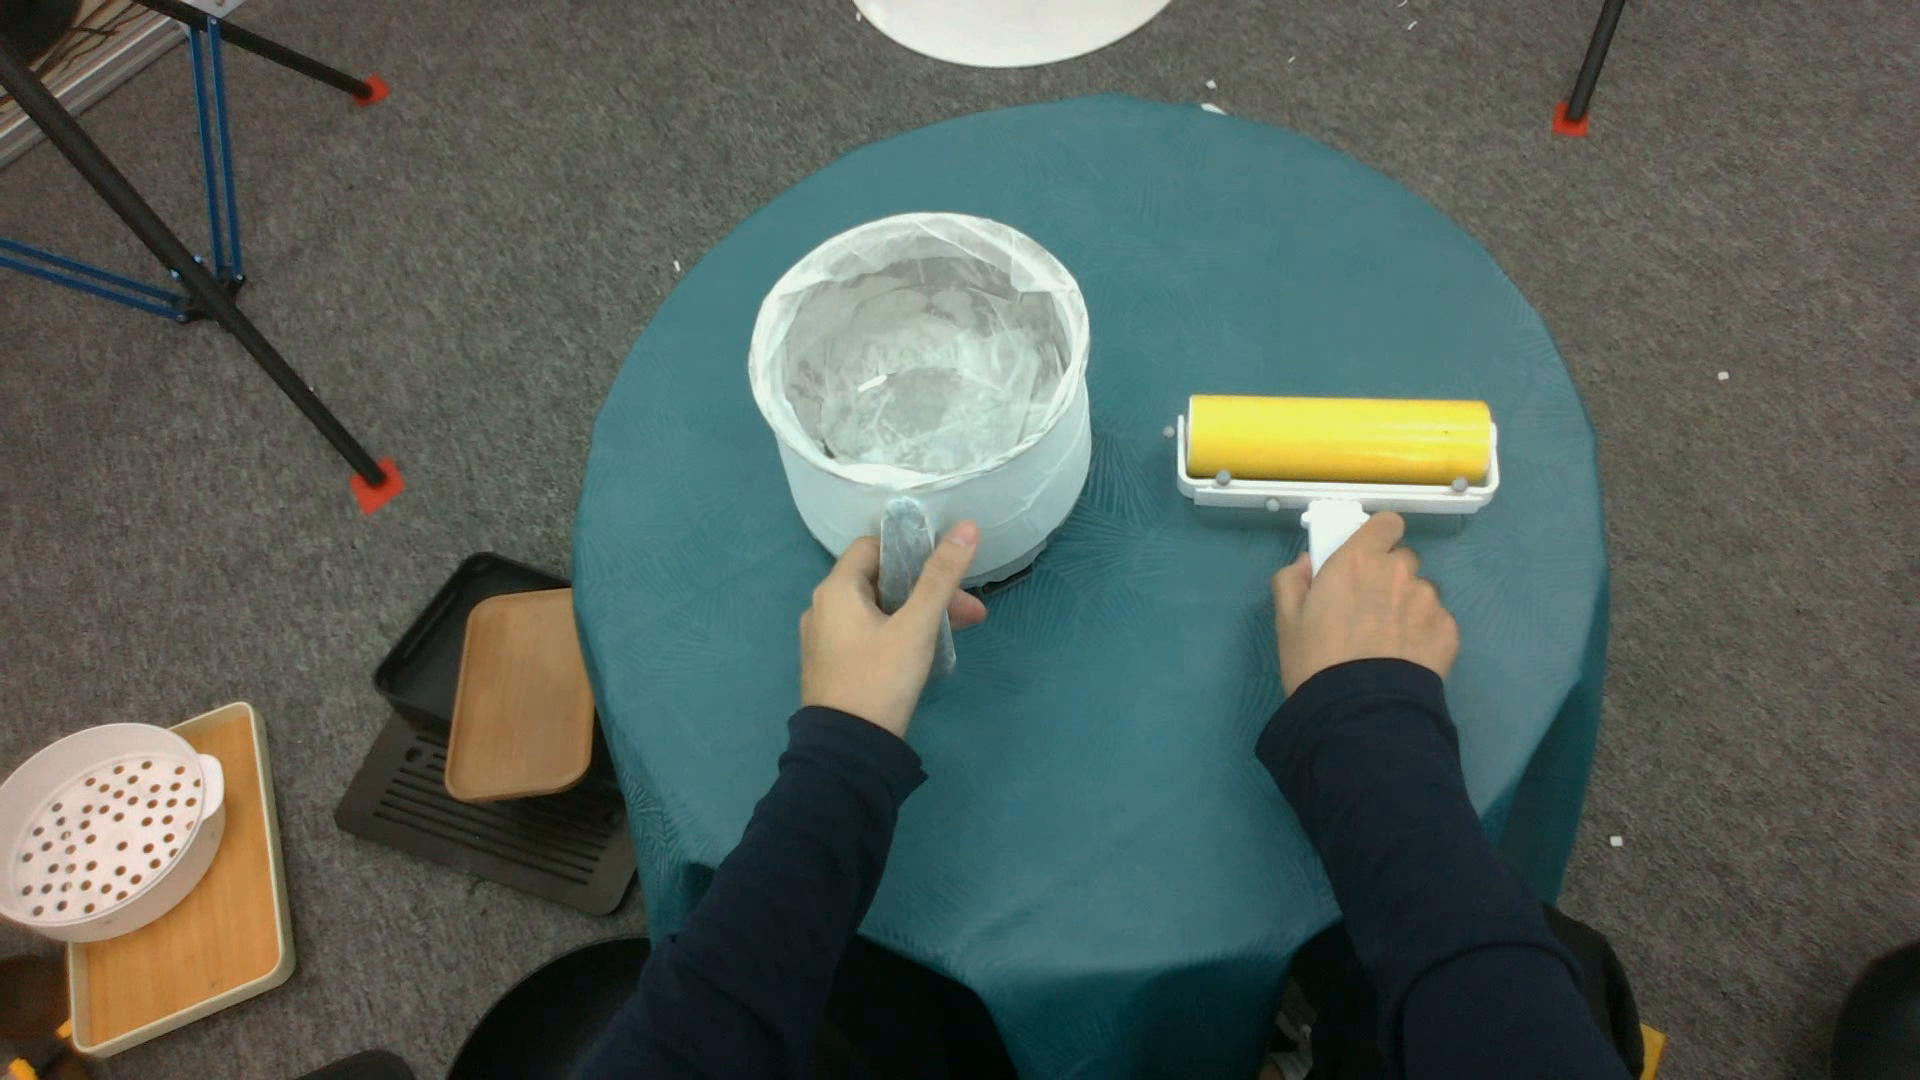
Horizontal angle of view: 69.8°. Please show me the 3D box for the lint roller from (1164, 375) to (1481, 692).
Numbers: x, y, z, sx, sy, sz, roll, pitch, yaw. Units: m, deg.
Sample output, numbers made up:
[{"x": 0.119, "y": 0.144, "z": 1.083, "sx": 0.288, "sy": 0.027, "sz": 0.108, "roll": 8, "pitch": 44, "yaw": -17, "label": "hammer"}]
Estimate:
[{"x": 0.199, "y": -0.012, "z": 0.741, "sx": 0.174, "sy": 0.051, "sz": 0.193, "roll": 0, "pitch": 51, "yaw": 6, "label": "lint roller"}]

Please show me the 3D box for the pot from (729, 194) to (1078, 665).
[{"x": -0.025, "y": -0.057, "z": 0.745, "sx": 0.178, "sy": 0.136, "sz": 0.234, "roll": -3, "pitch": 59, "yaw": 6, "label": "pot"}]
